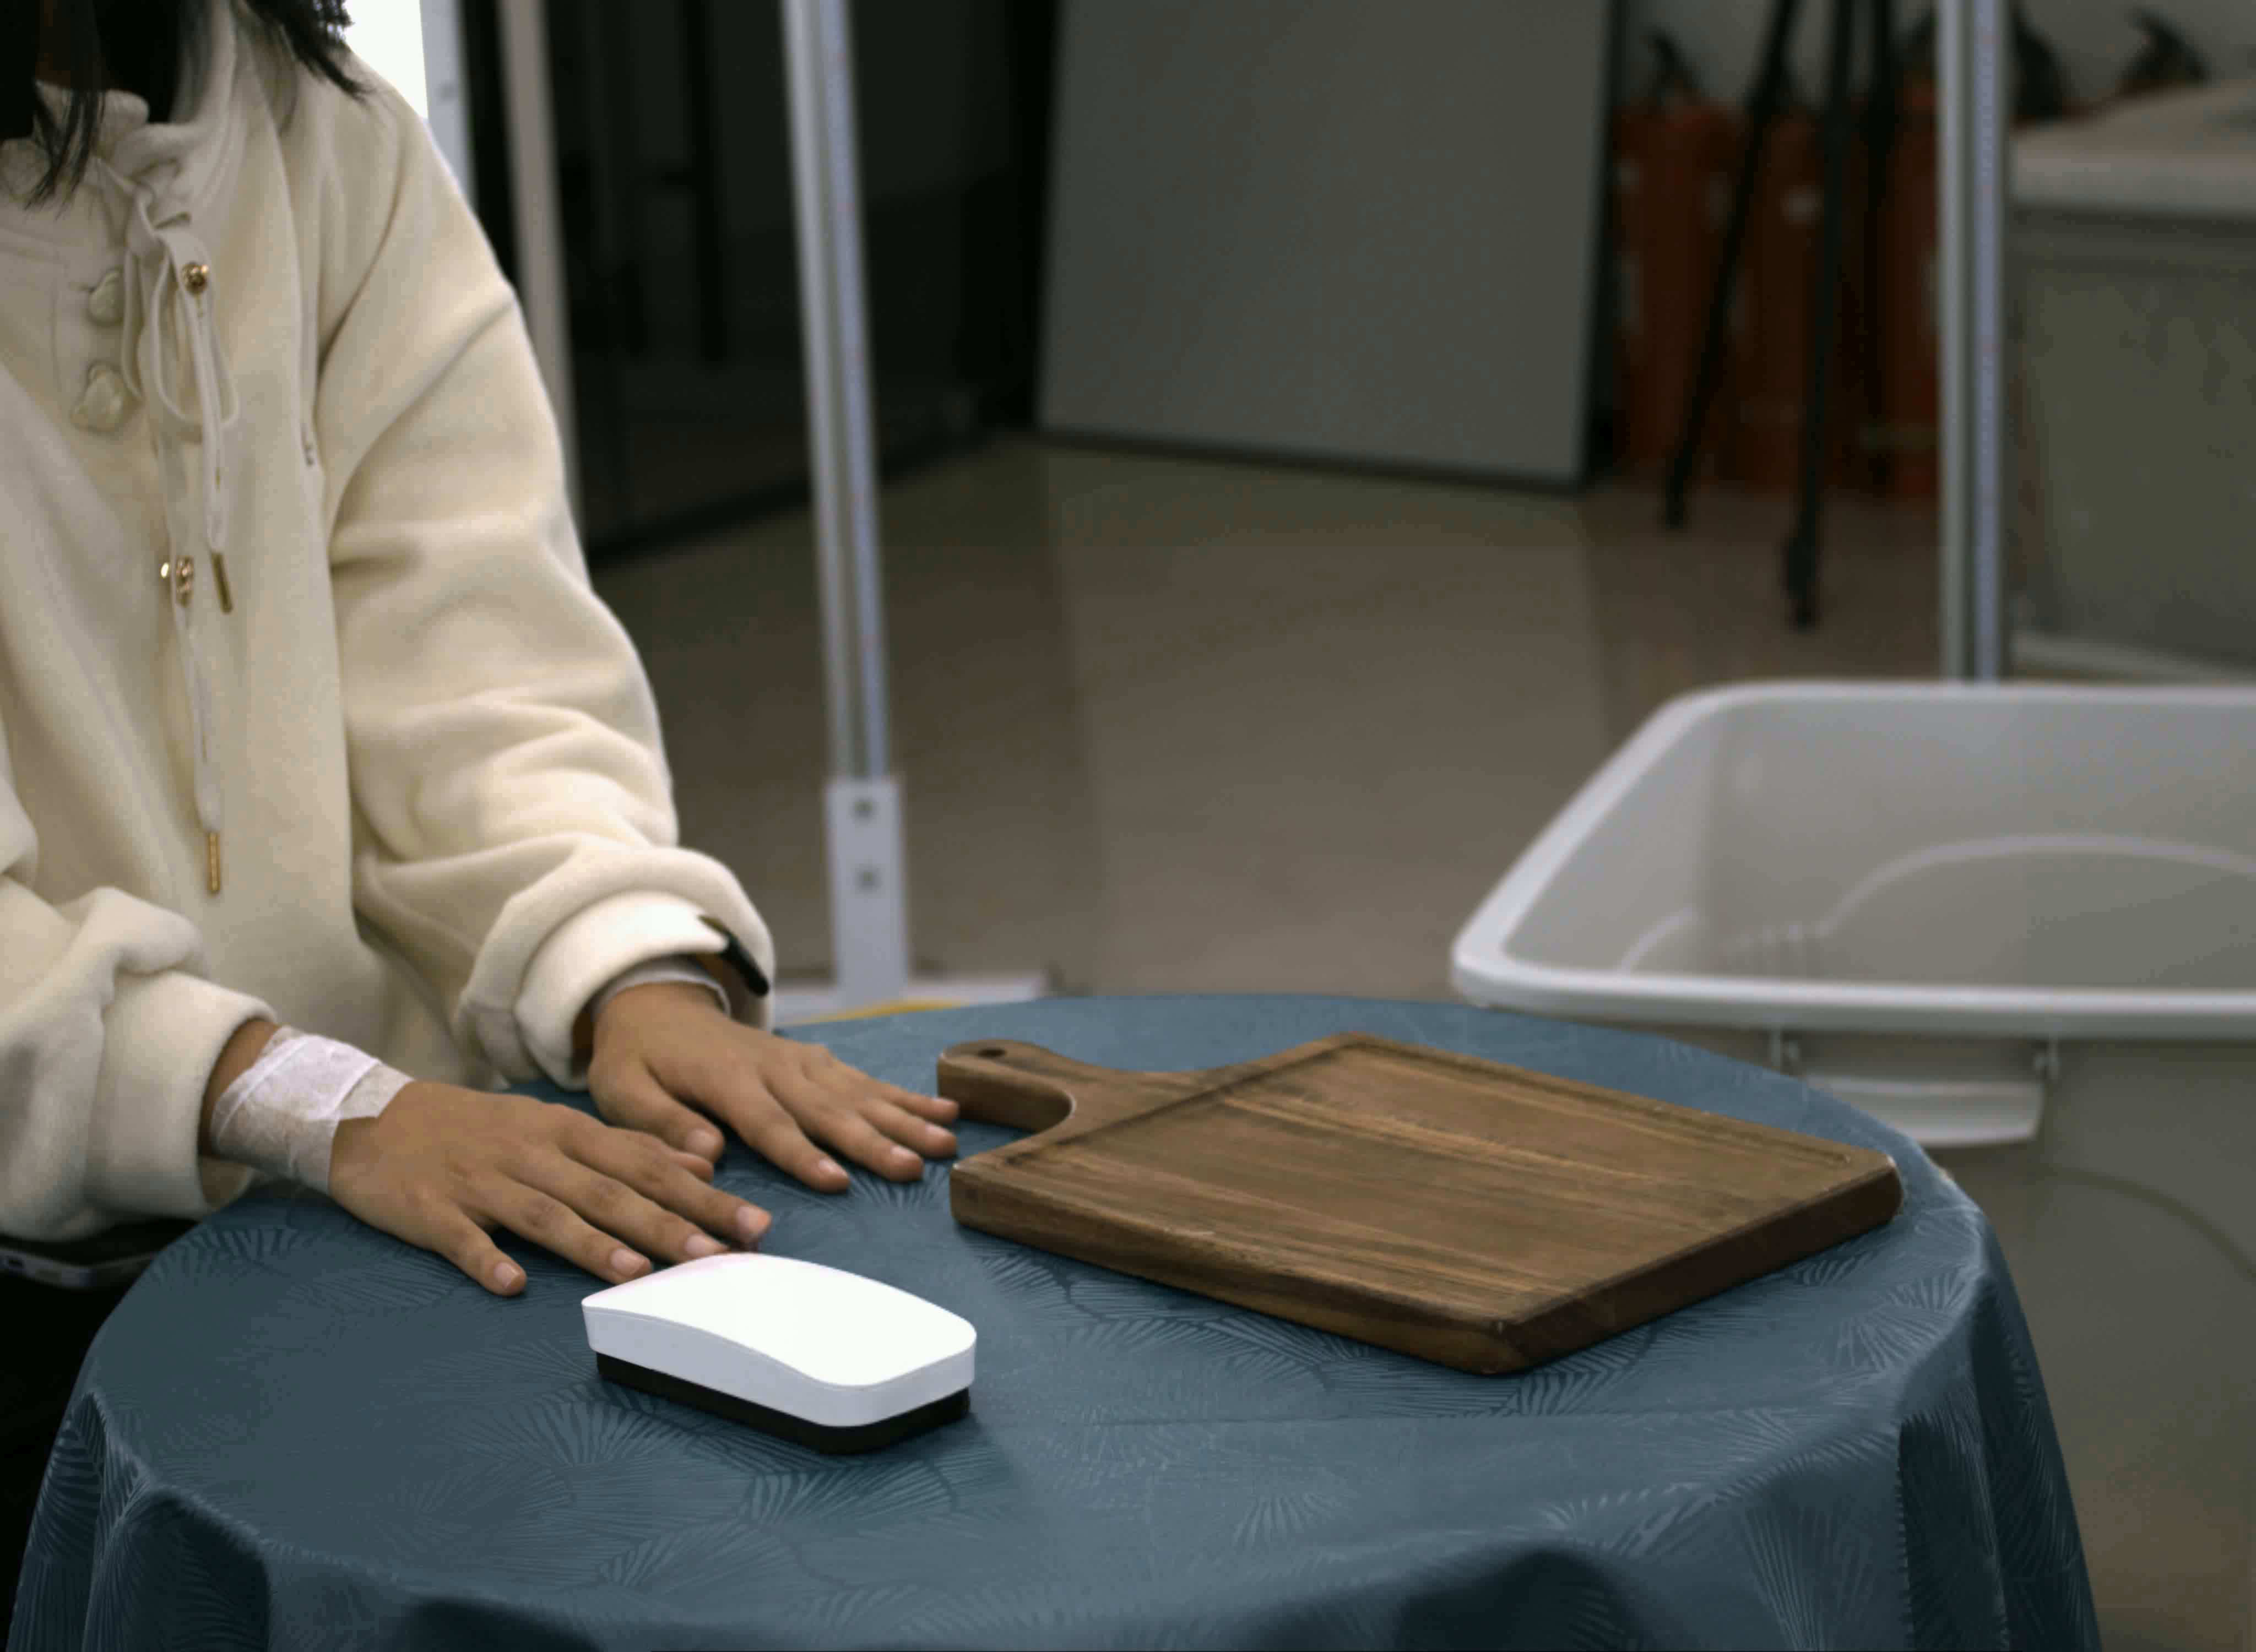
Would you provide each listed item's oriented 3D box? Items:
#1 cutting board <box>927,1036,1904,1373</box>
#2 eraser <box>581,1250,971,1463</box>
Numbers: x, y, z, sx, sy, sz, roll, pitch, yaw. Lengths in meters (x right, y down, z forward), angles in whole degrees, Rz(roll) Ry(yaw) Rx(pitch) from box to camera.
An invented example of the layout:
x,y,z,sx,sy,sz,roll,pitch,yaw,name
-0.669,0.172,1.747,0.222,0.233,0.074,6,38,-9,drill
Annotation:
x,y,z,sx,sy,sz,roll,pitch,yaw,name
0.059,0.110,1.754,0.197,0.023,0.355,-16,18,-41,cutting board
-0.104,0.154,1.602,0.062,0.035,0.132,-16,18,-39,eraser
